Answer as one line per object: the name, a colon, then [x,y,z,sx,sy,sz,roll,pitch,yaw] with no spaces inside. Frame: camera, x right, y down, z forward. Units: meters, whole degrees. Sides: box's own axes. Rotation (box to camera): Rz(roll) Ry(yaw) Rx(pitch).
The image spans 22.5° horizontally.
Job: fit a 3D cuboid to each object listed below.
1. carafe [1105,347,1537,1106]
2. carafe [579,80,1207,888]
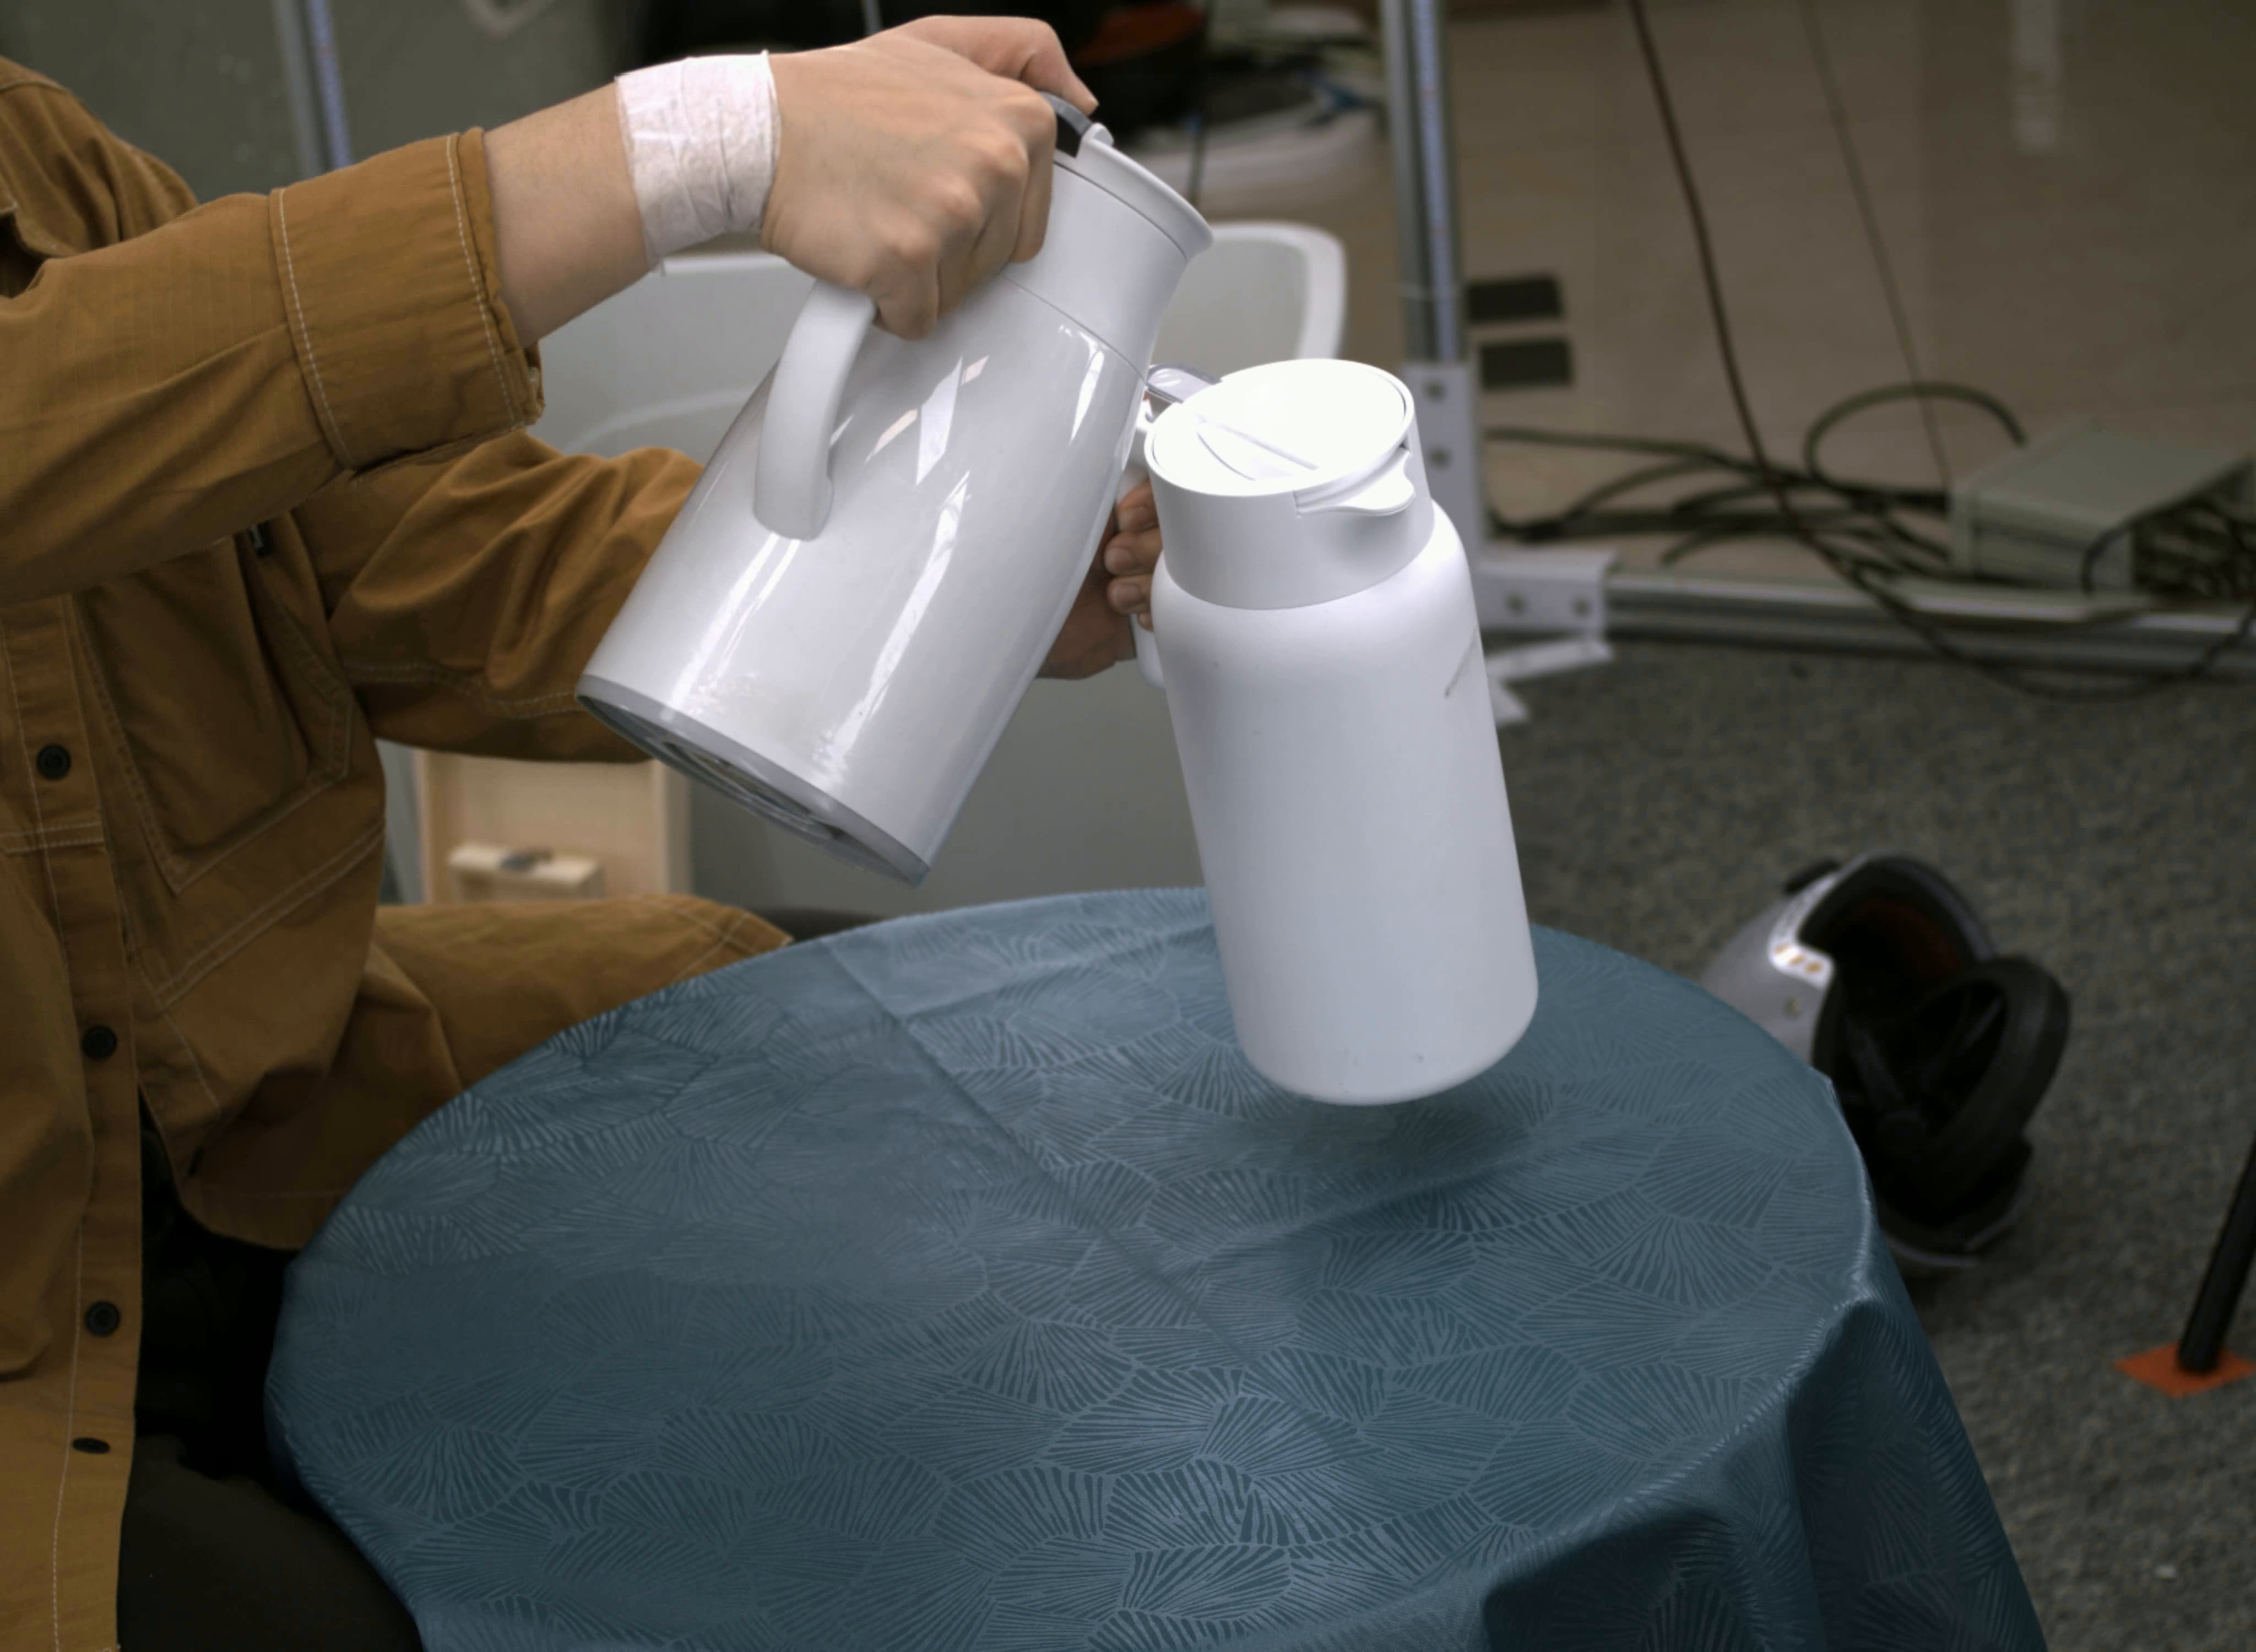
carafe: [0.065,-0.039,2.096,0.123,0.274,0.171,-33,38,-25]
carafe: [-0.073,-0.124,1.869,0.131,0.248,0.169,26,-5,26]
